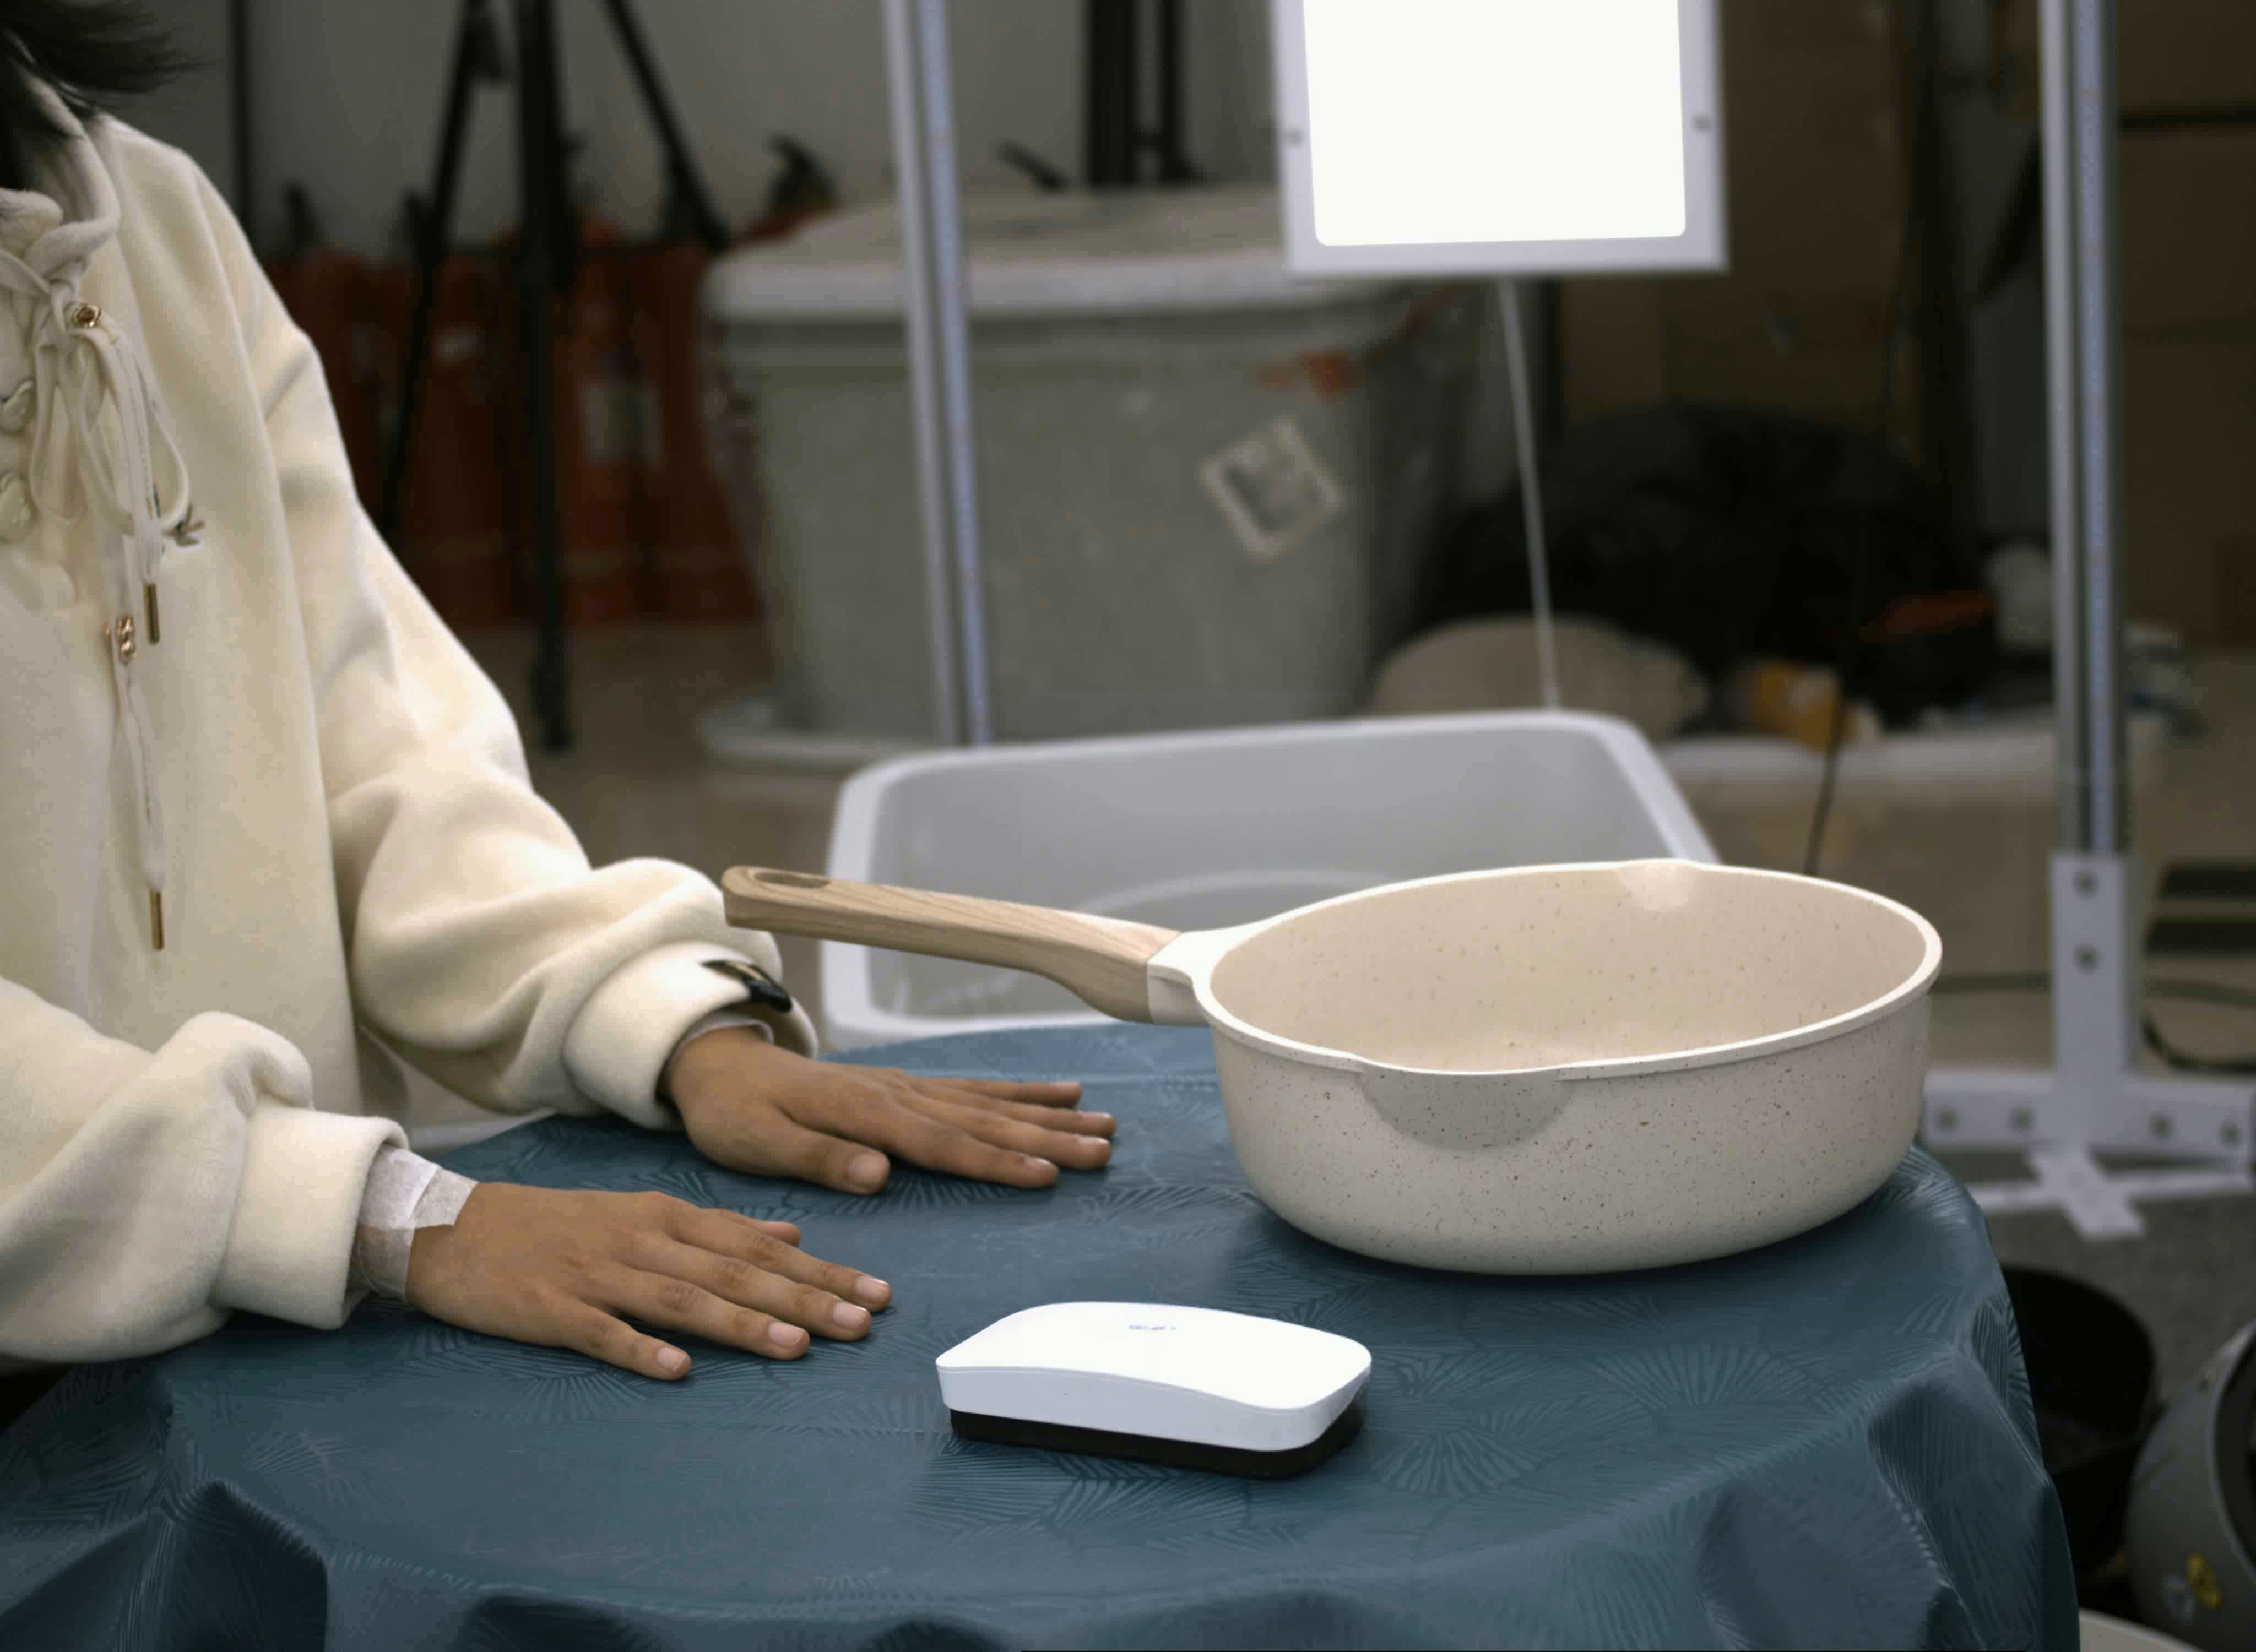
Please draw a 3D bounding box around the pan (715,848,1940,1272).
[{"bbox_3d":[0.064,0.072,1.885,0.441,0.102,0.258,1,16,22],"label":"pan"}]

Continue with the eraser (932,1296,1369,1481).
[{"bbox_3d":[0.007,0.168,1.662,0.134,0.034,0.062,4,14,32],"label":"eraser"}]
